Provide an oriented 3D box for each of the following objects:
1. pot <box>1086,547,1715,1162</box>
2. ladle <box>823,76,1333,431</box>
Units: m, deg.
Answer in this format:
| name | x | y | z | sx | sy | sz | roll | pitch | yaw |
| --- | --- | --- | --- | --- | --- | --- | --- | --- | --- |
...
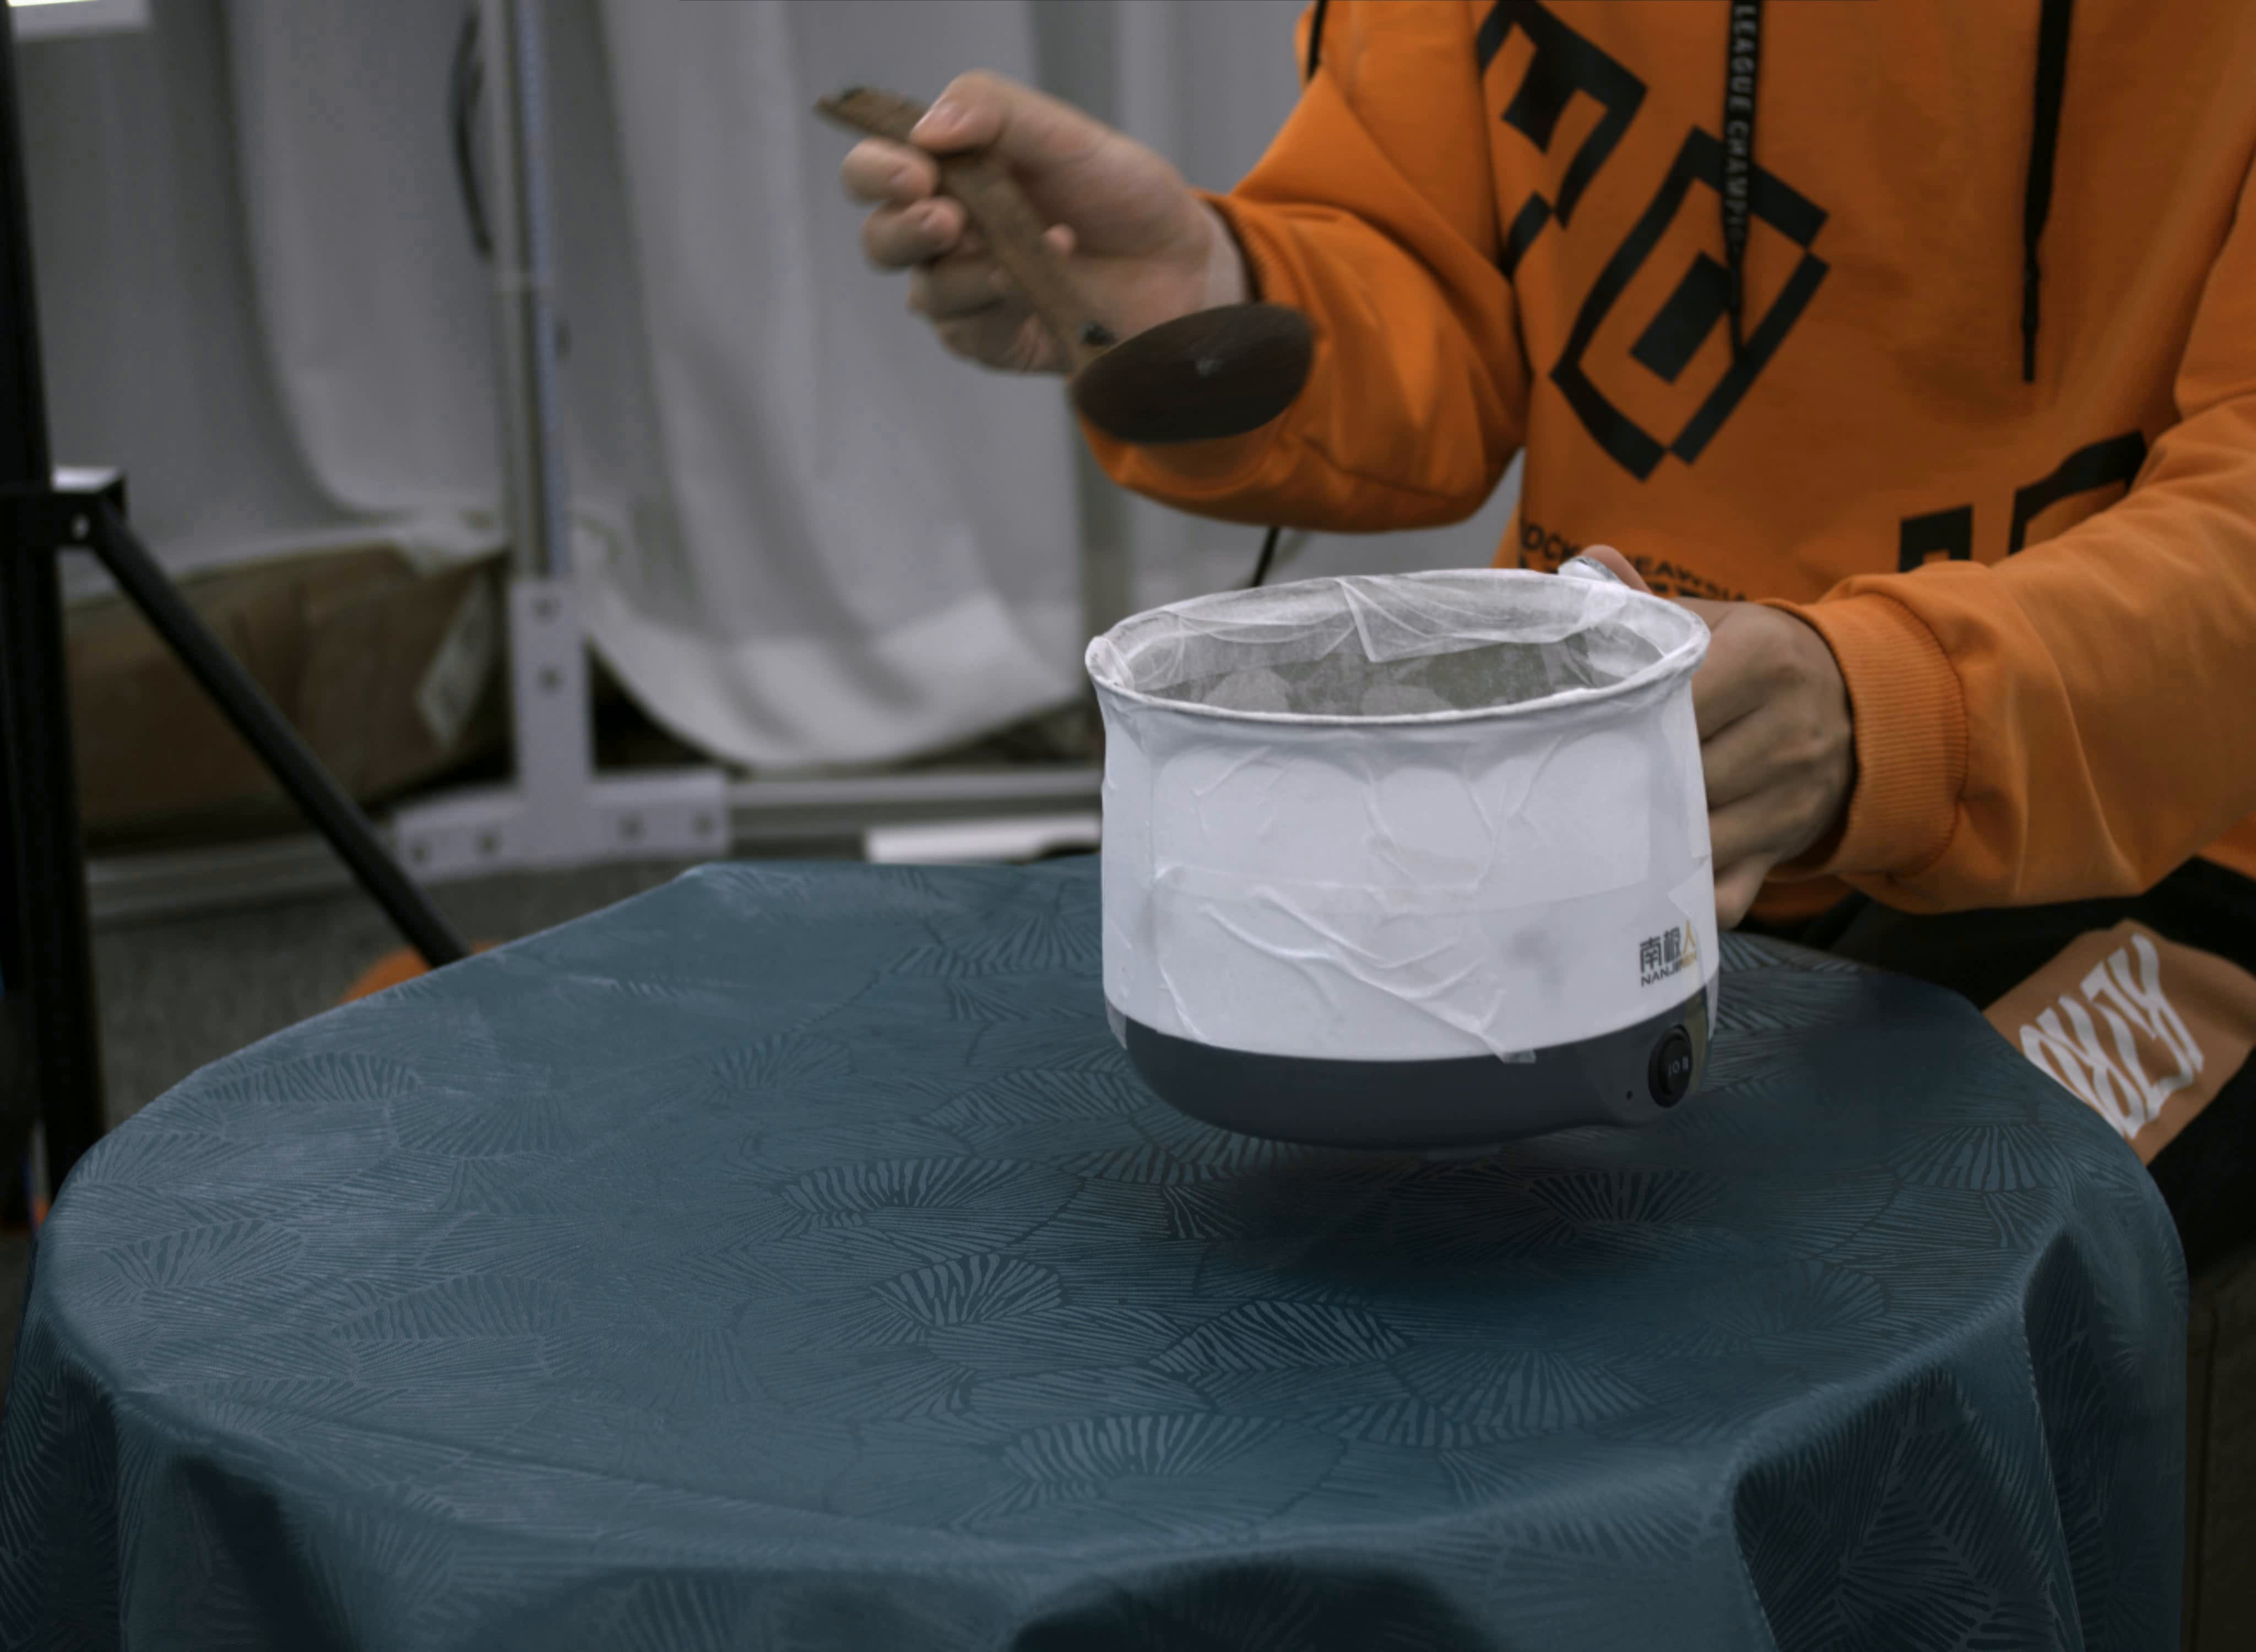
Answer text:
| name | x | y | z | sx | sy | sz | roll | pitch | yaw |
| --- | --- | --- | --- | --- | --- | --- | --- | --- | --- |
| pot | 0.094 | 0.002 | 1.532 | 0.182 | 0.136 | 0.229 | 8 | 19 | 35 |
| ladle | -0.024 | -0.196 | 1.635 | 0.074 | 0.071 | 0.280 | -4 | 35 | -28 |
